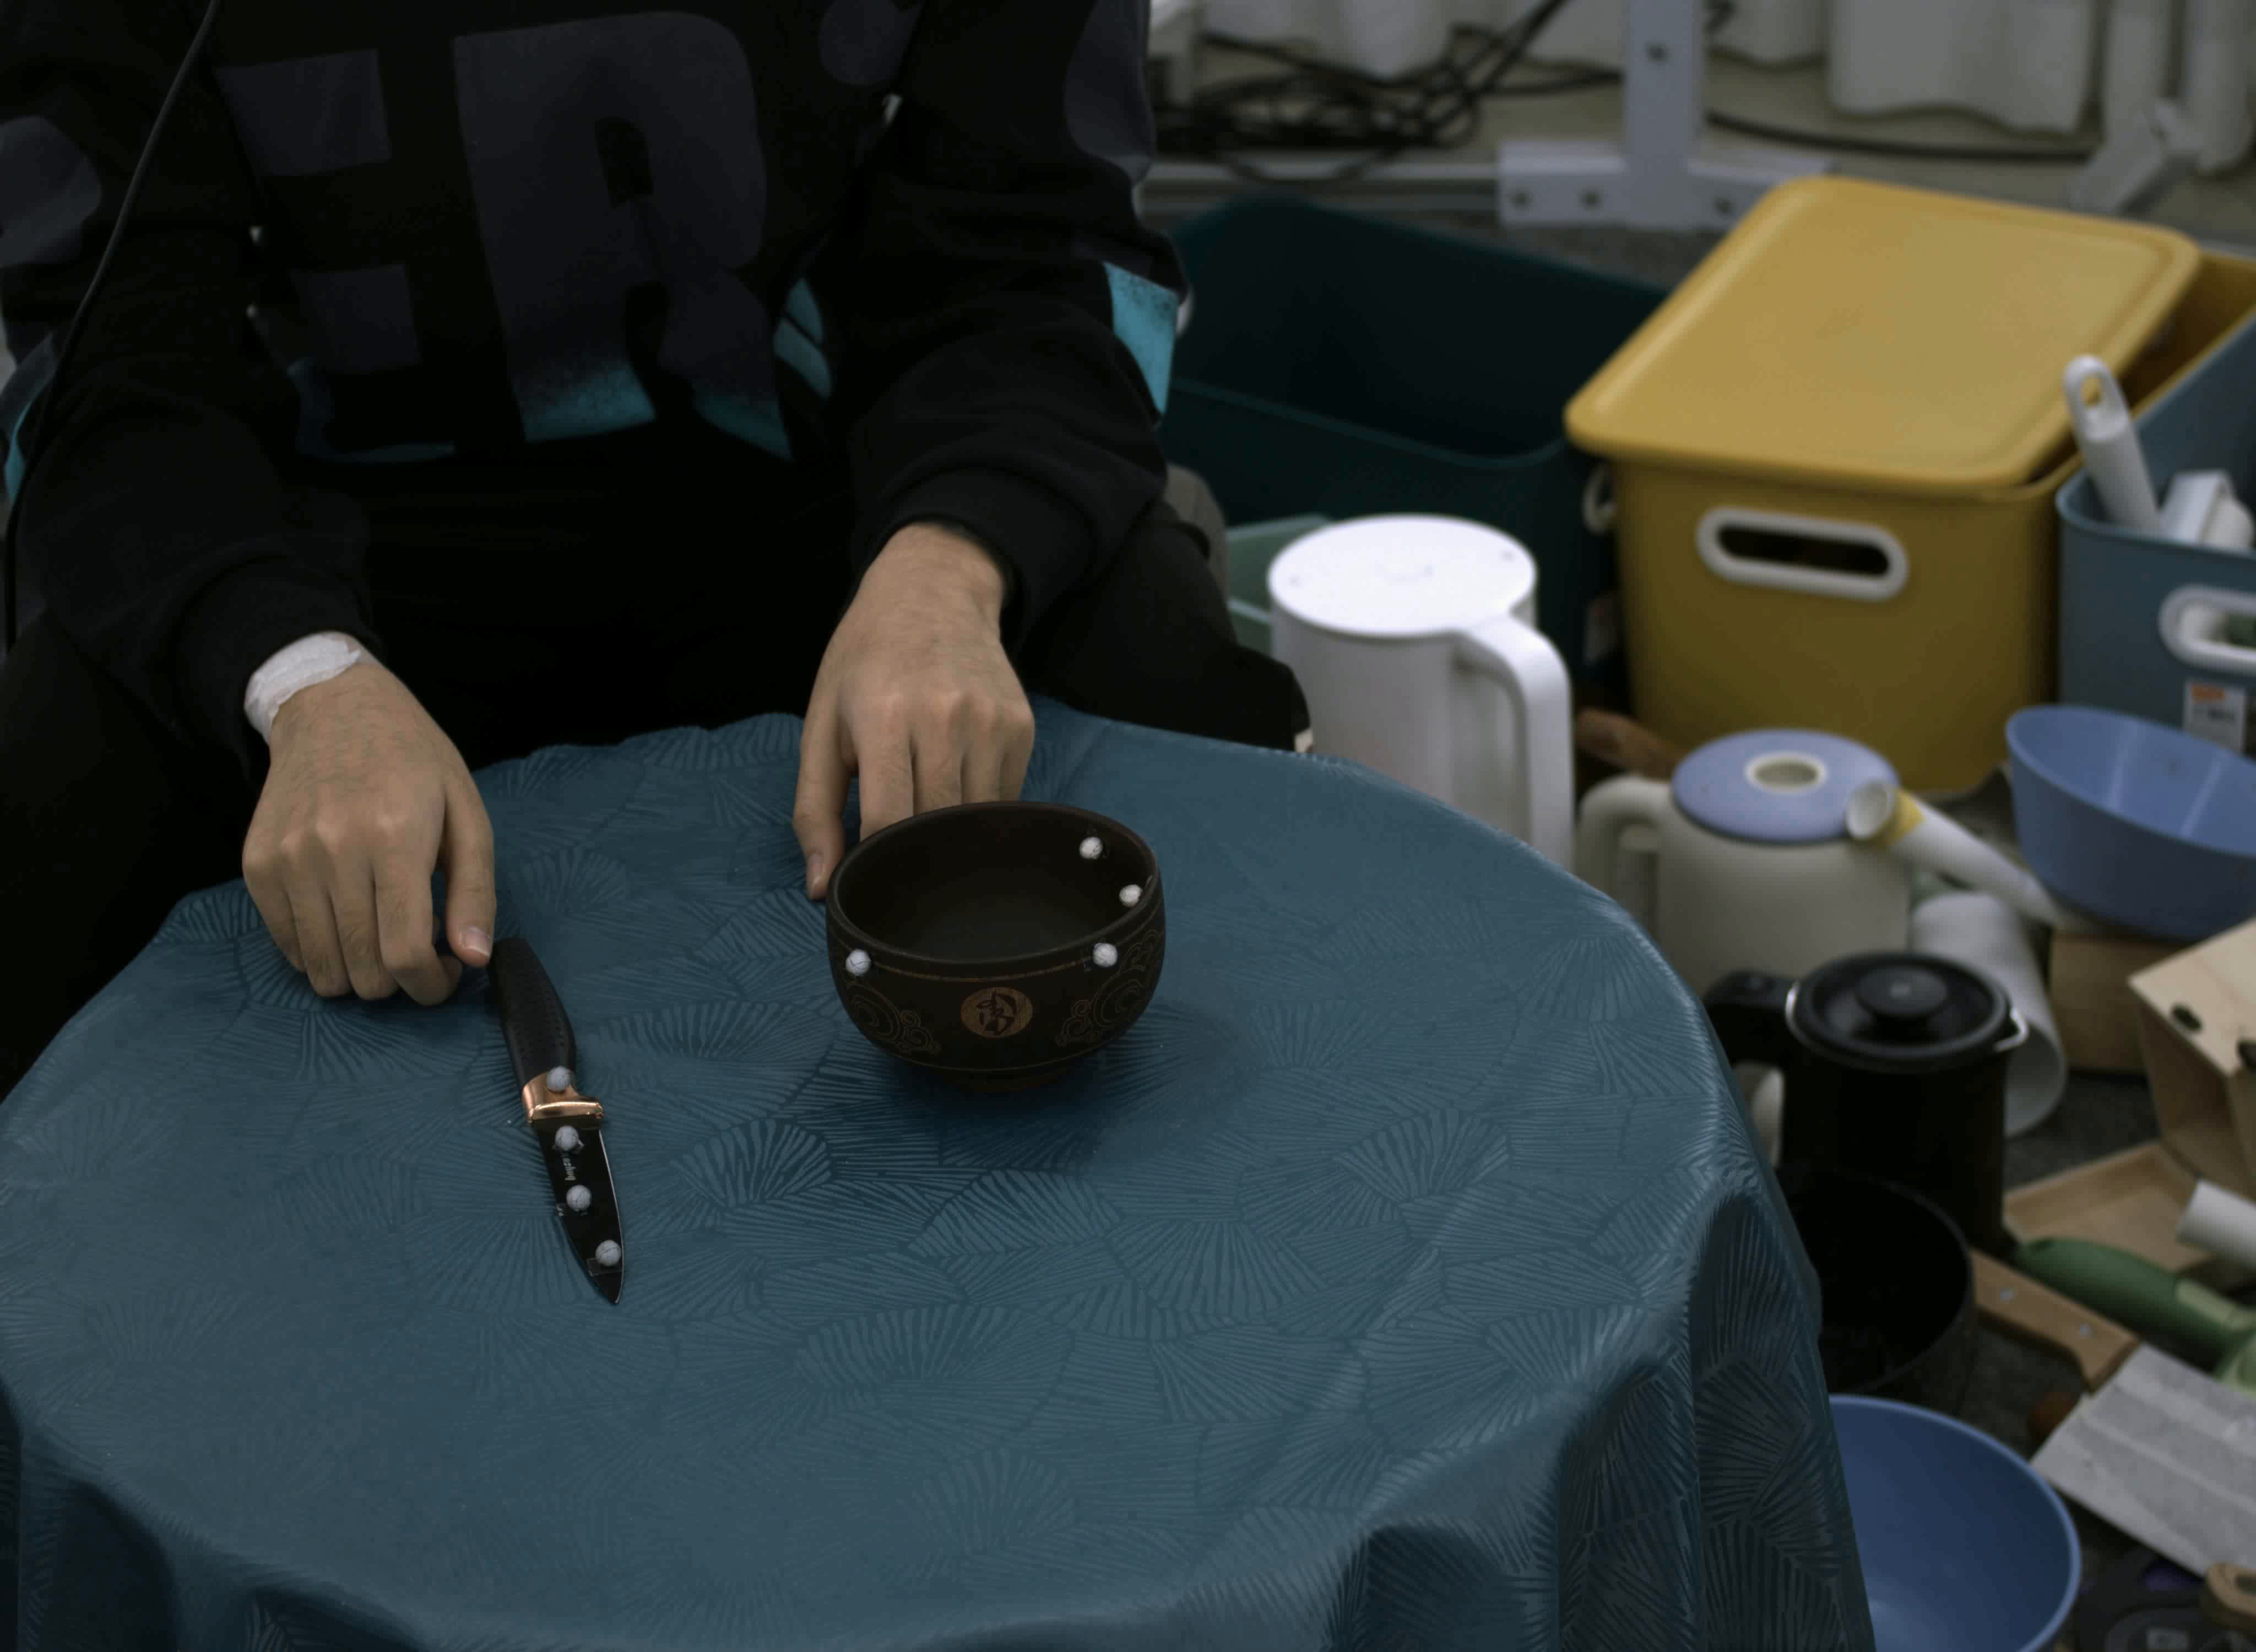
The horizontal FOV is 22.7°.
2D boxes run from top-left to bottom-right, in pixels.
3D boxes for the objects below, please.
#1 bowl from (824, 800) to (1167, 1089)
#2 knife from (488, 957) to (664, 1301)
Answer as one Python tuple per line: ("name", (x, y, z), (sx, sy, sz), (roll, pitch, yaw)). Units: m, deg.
("bowl", (-0.045, 0.047, 1.930), (0.117, 0.069, 0.120), (-2, 25, 1))
("knife", (-0.189, 0.102, 1.907), (0.026, 0.017, 0.228), (-4, 28, -16))
